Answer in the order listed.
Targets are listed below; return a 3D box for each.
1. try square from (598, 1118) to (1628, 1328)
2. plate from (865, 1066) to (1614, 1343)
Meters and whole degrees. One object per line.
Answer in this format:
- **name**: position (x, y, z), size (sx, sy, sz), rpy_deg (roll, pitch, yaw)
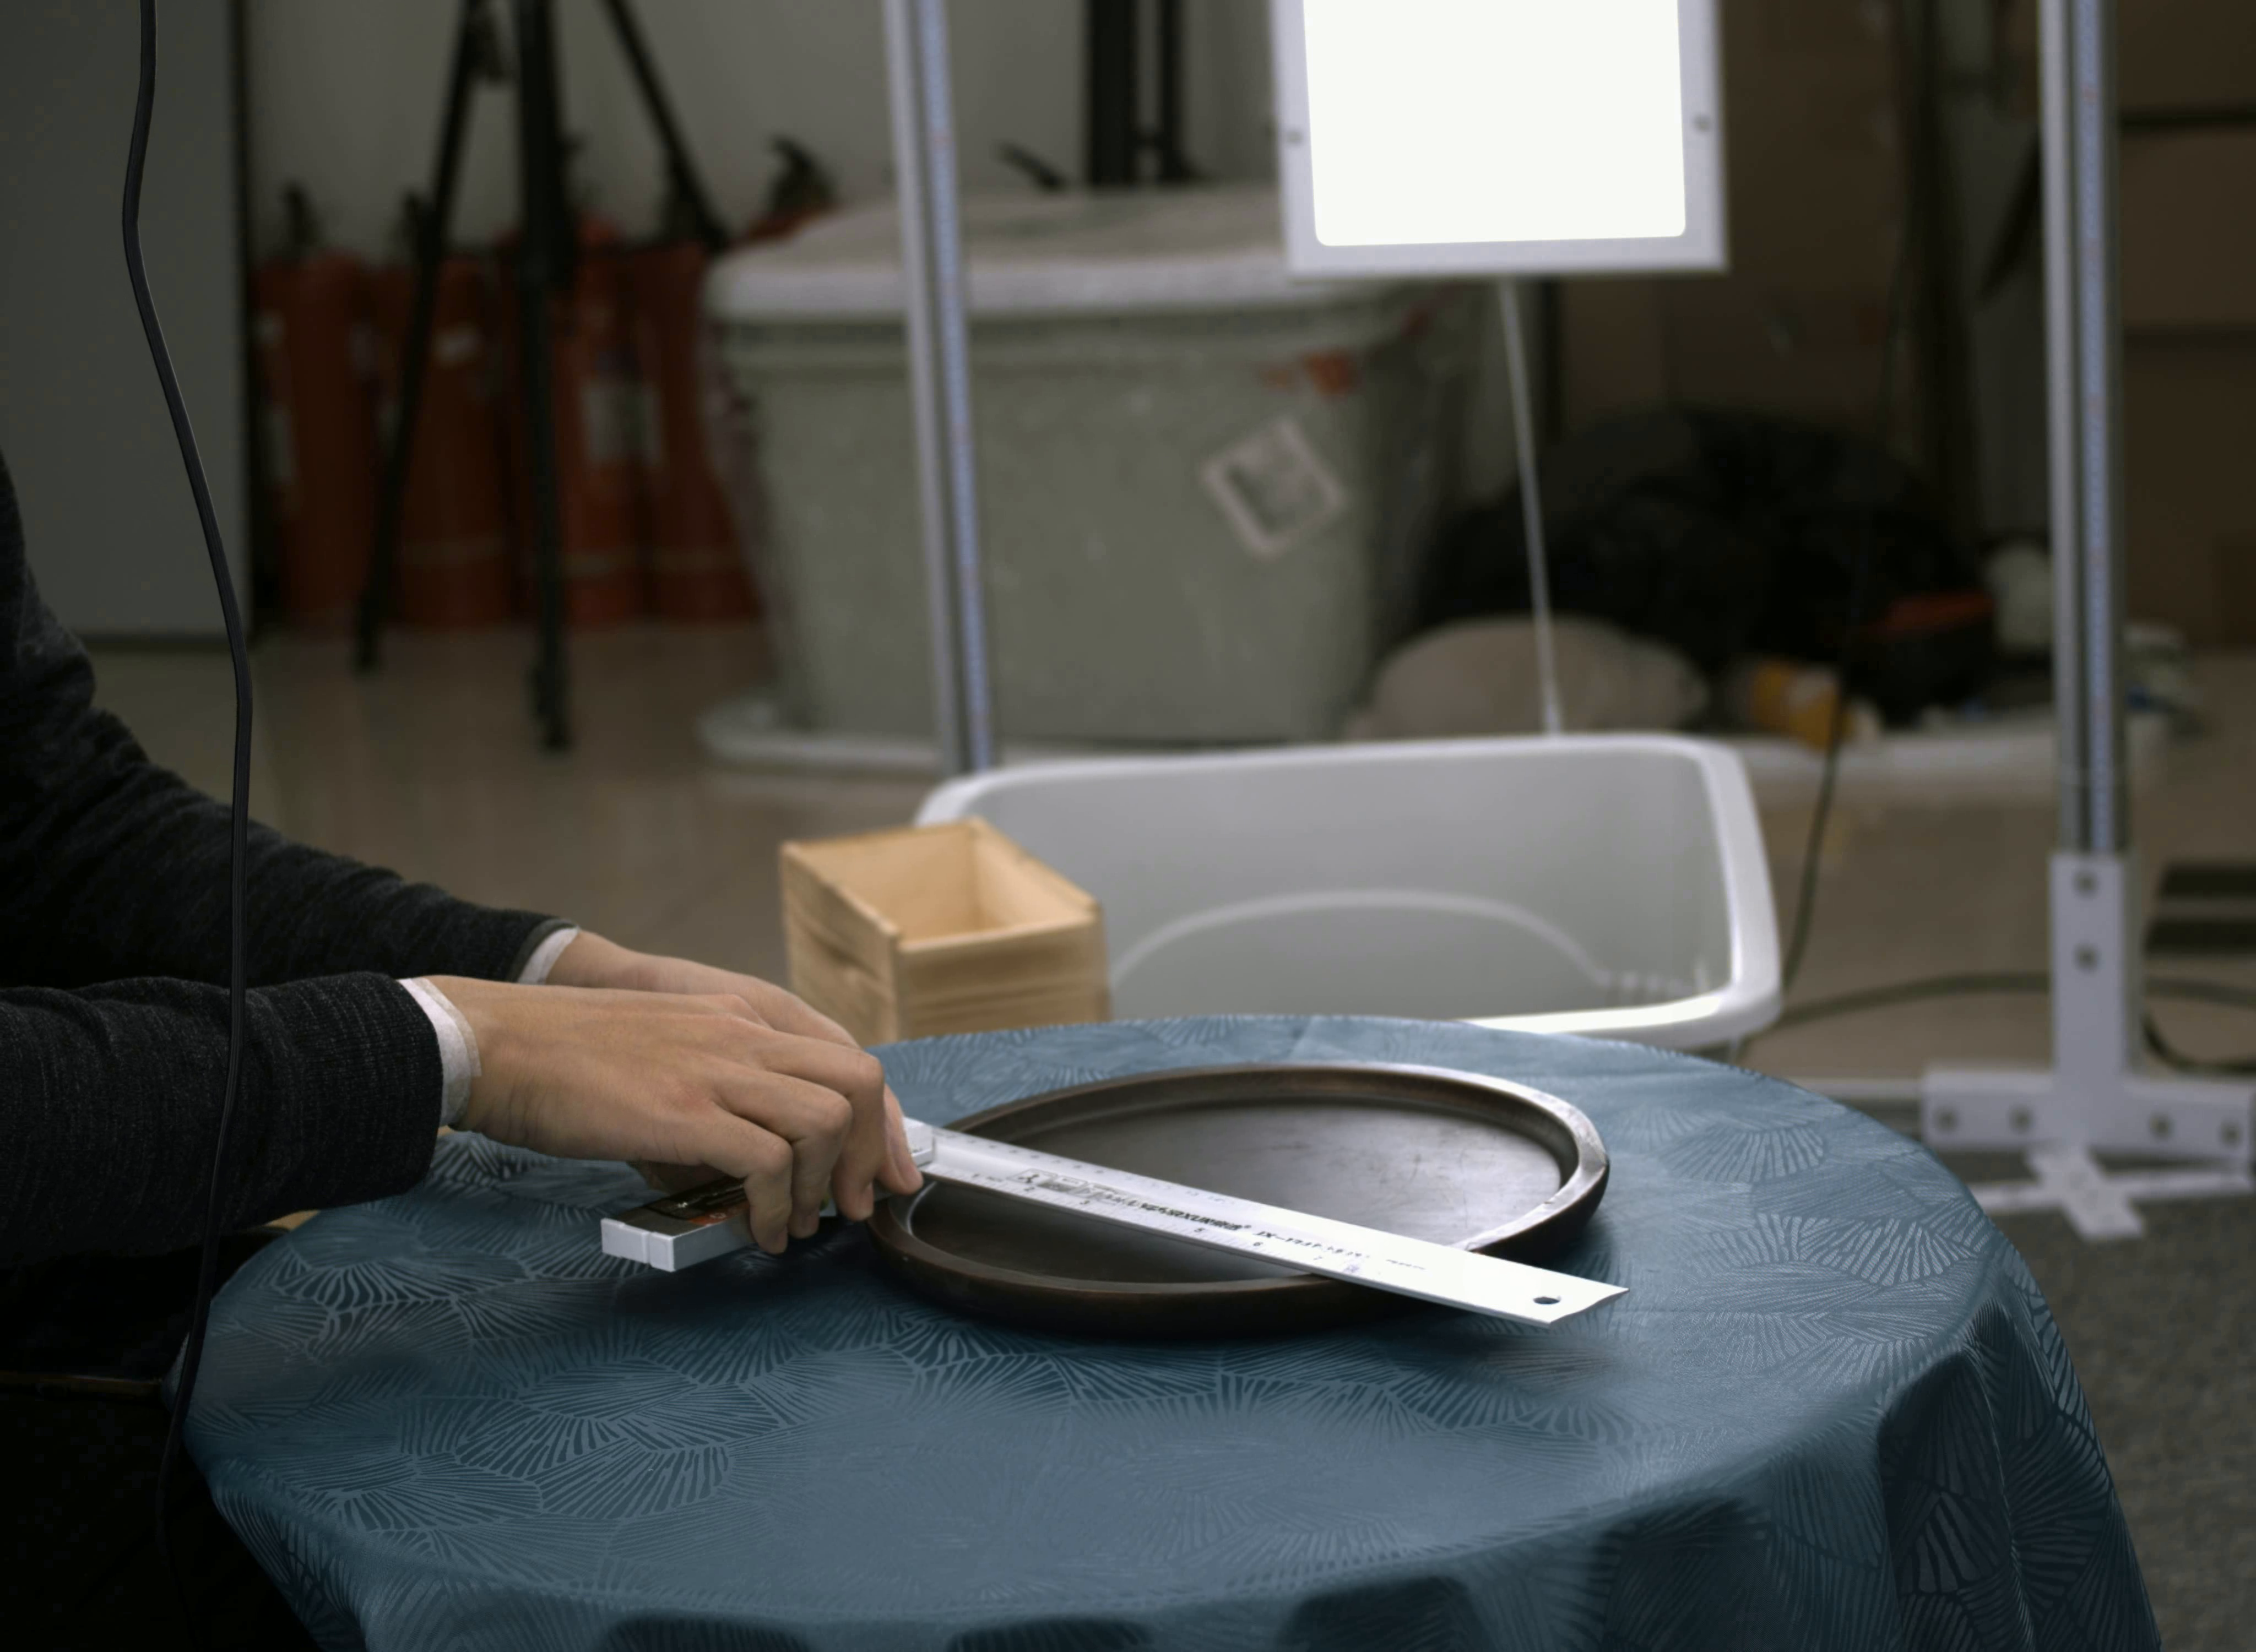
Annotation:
- **try square**: position (-0.010, 0.139, 1.748), size (0.319, 0.016, 0.148), rpy_deg (10, 19, 44)
- **plate**: position (0.037, 0.124, 1.845), size (0.254, 0.029, 0.254), rpy_deg (-4, 14, 0)
